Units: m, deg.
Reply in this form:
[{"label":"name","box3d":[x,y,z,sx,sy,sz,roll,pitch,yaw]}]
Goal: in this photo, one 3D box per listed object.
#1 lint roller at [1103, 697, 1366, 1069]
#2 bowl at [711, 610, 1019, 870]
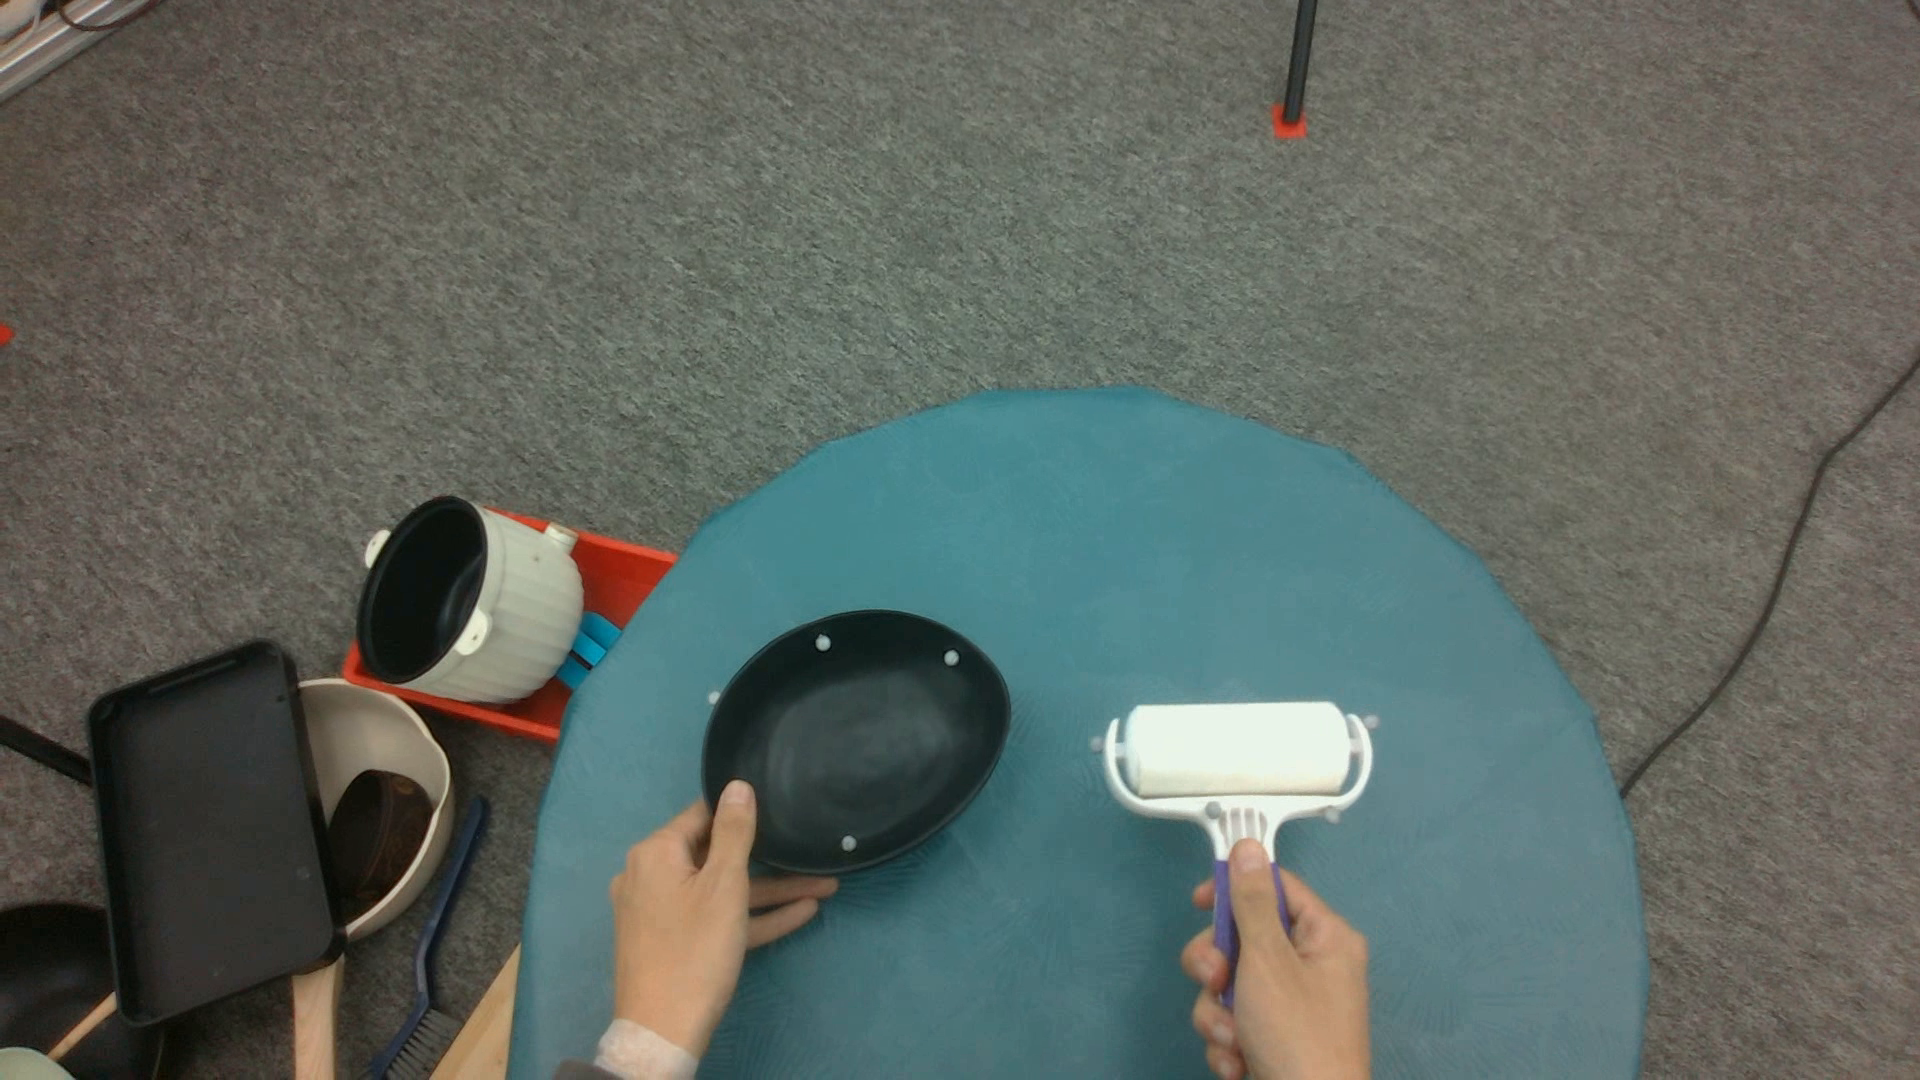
[{"label":"lint roller","box3d":[0.139,0.160,0.672,0.133,0.050,0.181,-1,53,4]},{"label":"bowl","box3d":[-0.051,0.113,0.758,0.170,0.066,0.137,-26,68,-12]}]
